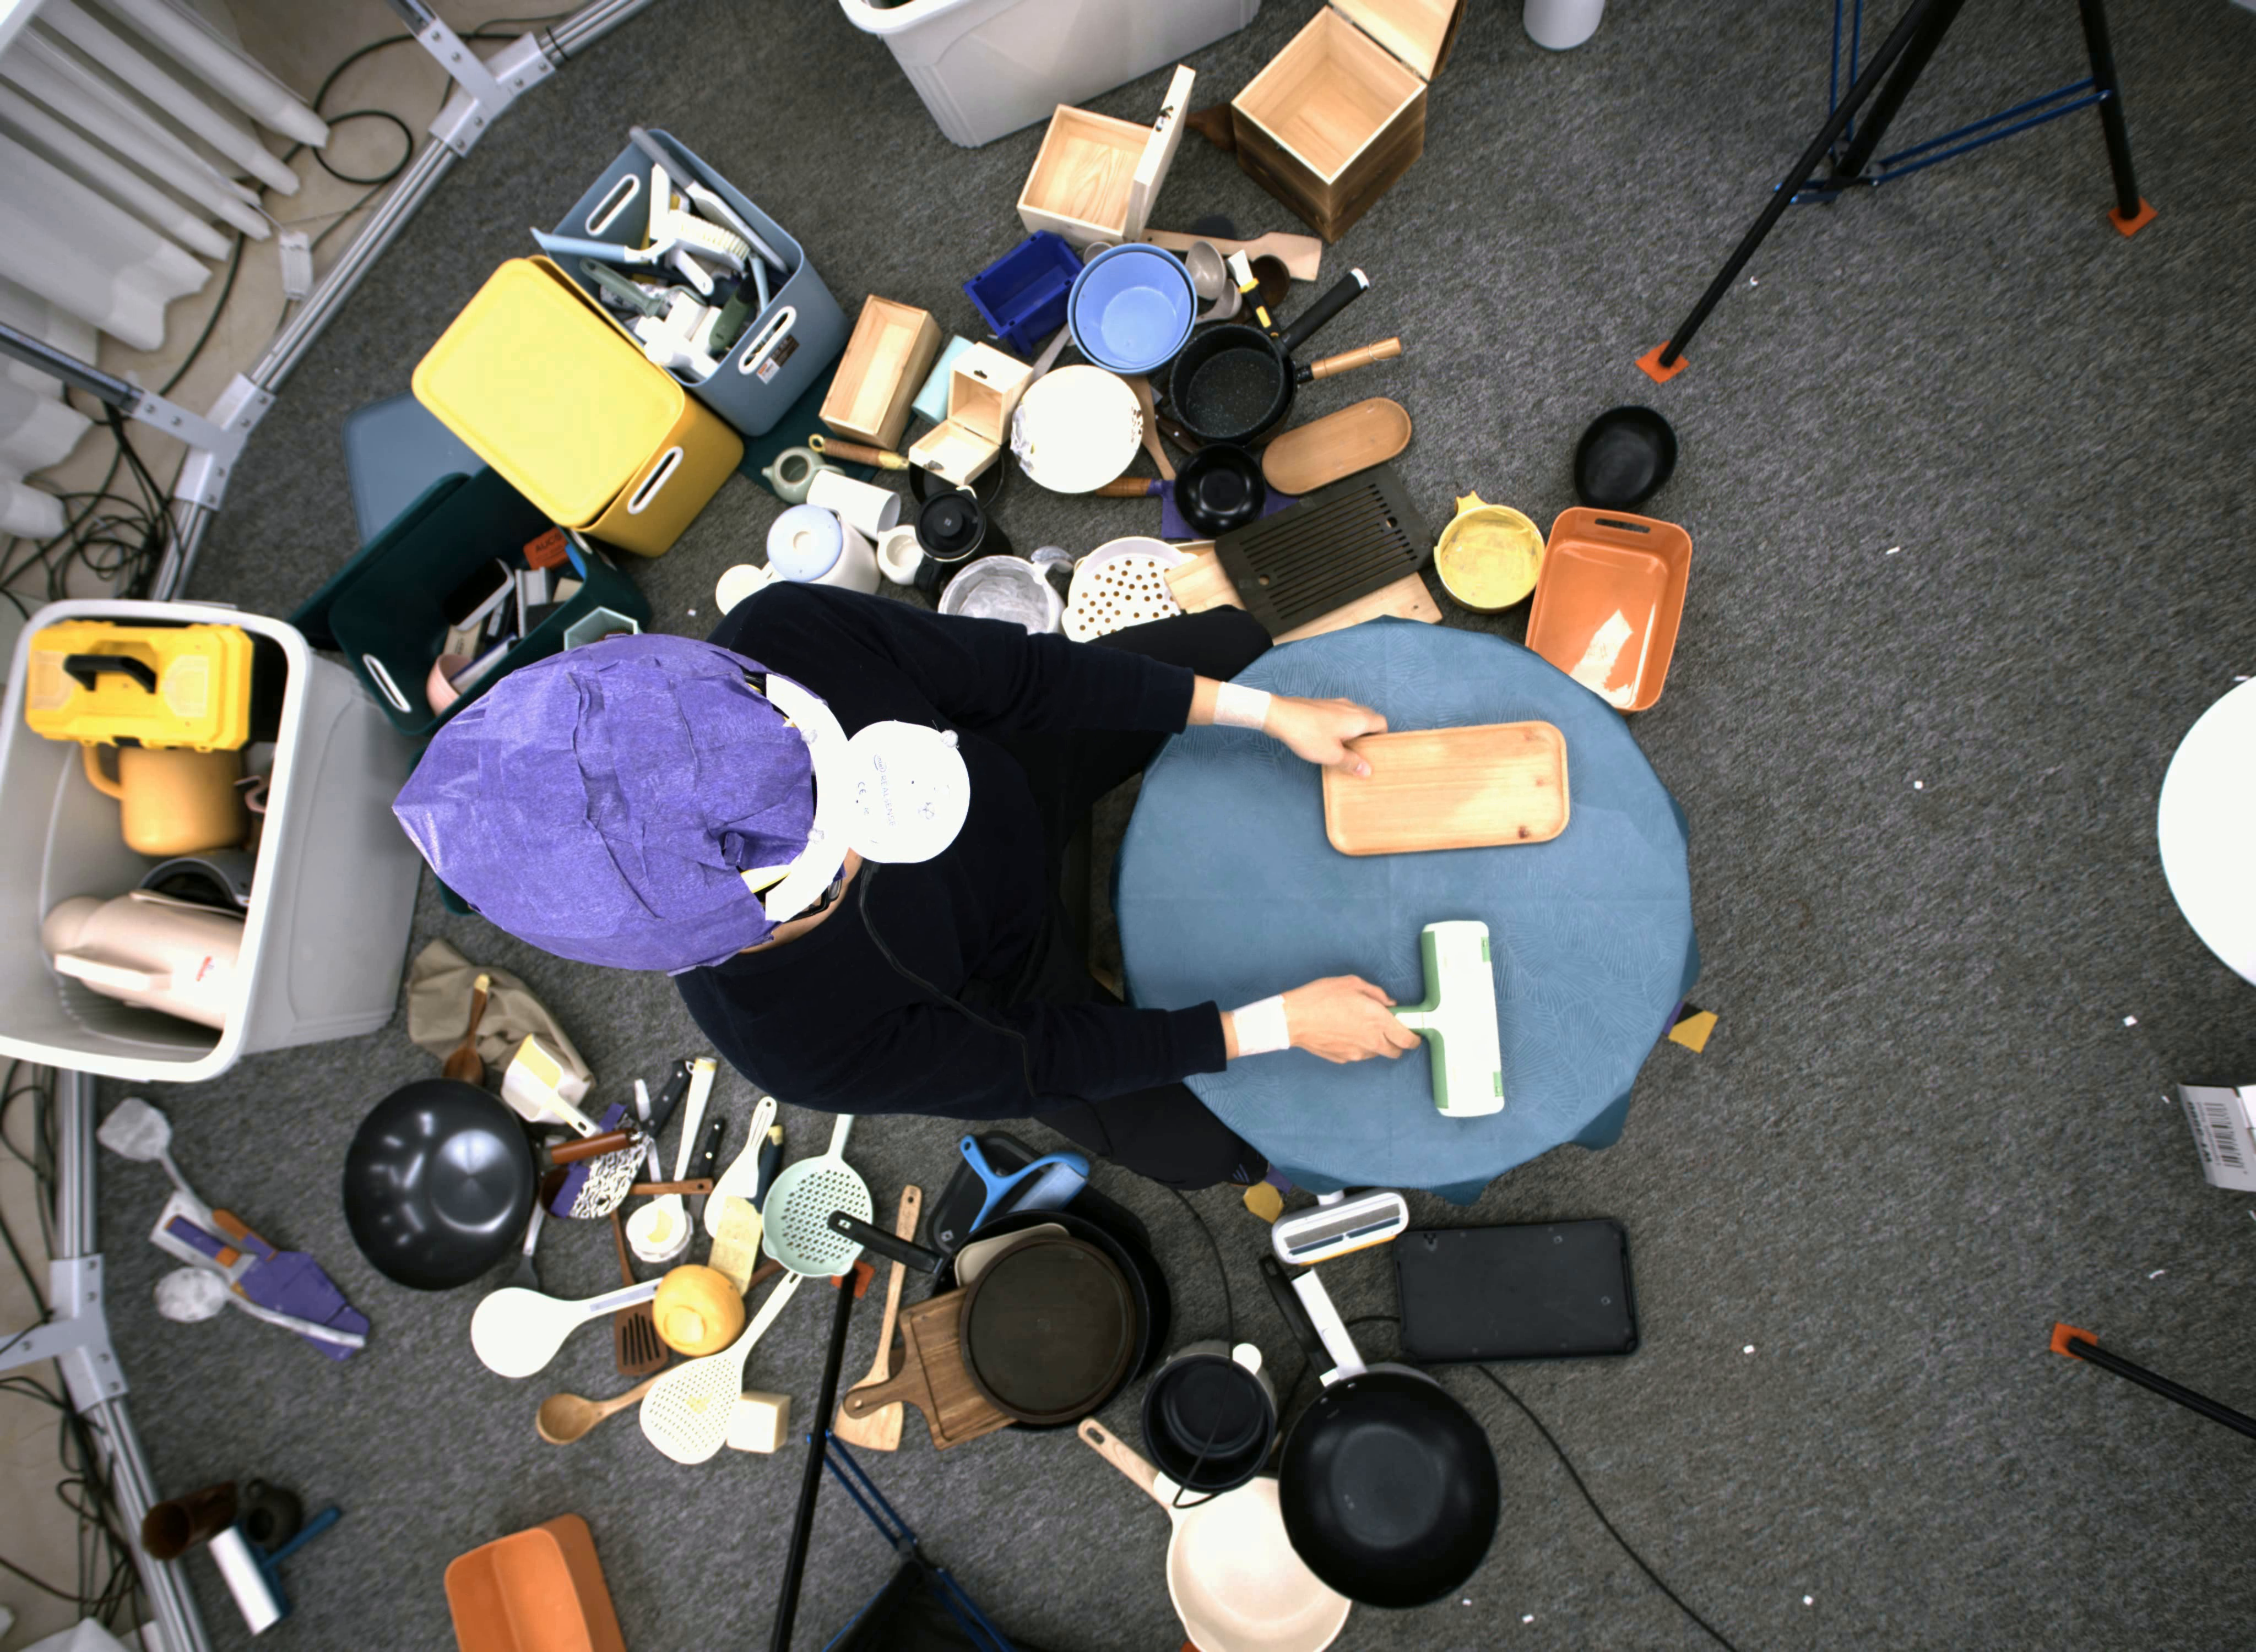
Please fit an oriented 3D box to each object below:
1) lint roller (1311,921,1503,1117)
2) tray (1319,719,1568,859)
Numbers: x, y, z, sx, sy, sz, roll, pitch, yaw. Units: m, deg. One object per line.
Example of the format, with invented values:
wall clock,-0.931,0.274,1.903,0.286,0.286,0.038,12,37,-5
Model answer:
lint roller,0.282,0.197,1.399,0.183,0.082,0.197,-4,85,-3
tray,0.328,-0.040,1.432,0.252,0.022,0.131,-5,100,11
